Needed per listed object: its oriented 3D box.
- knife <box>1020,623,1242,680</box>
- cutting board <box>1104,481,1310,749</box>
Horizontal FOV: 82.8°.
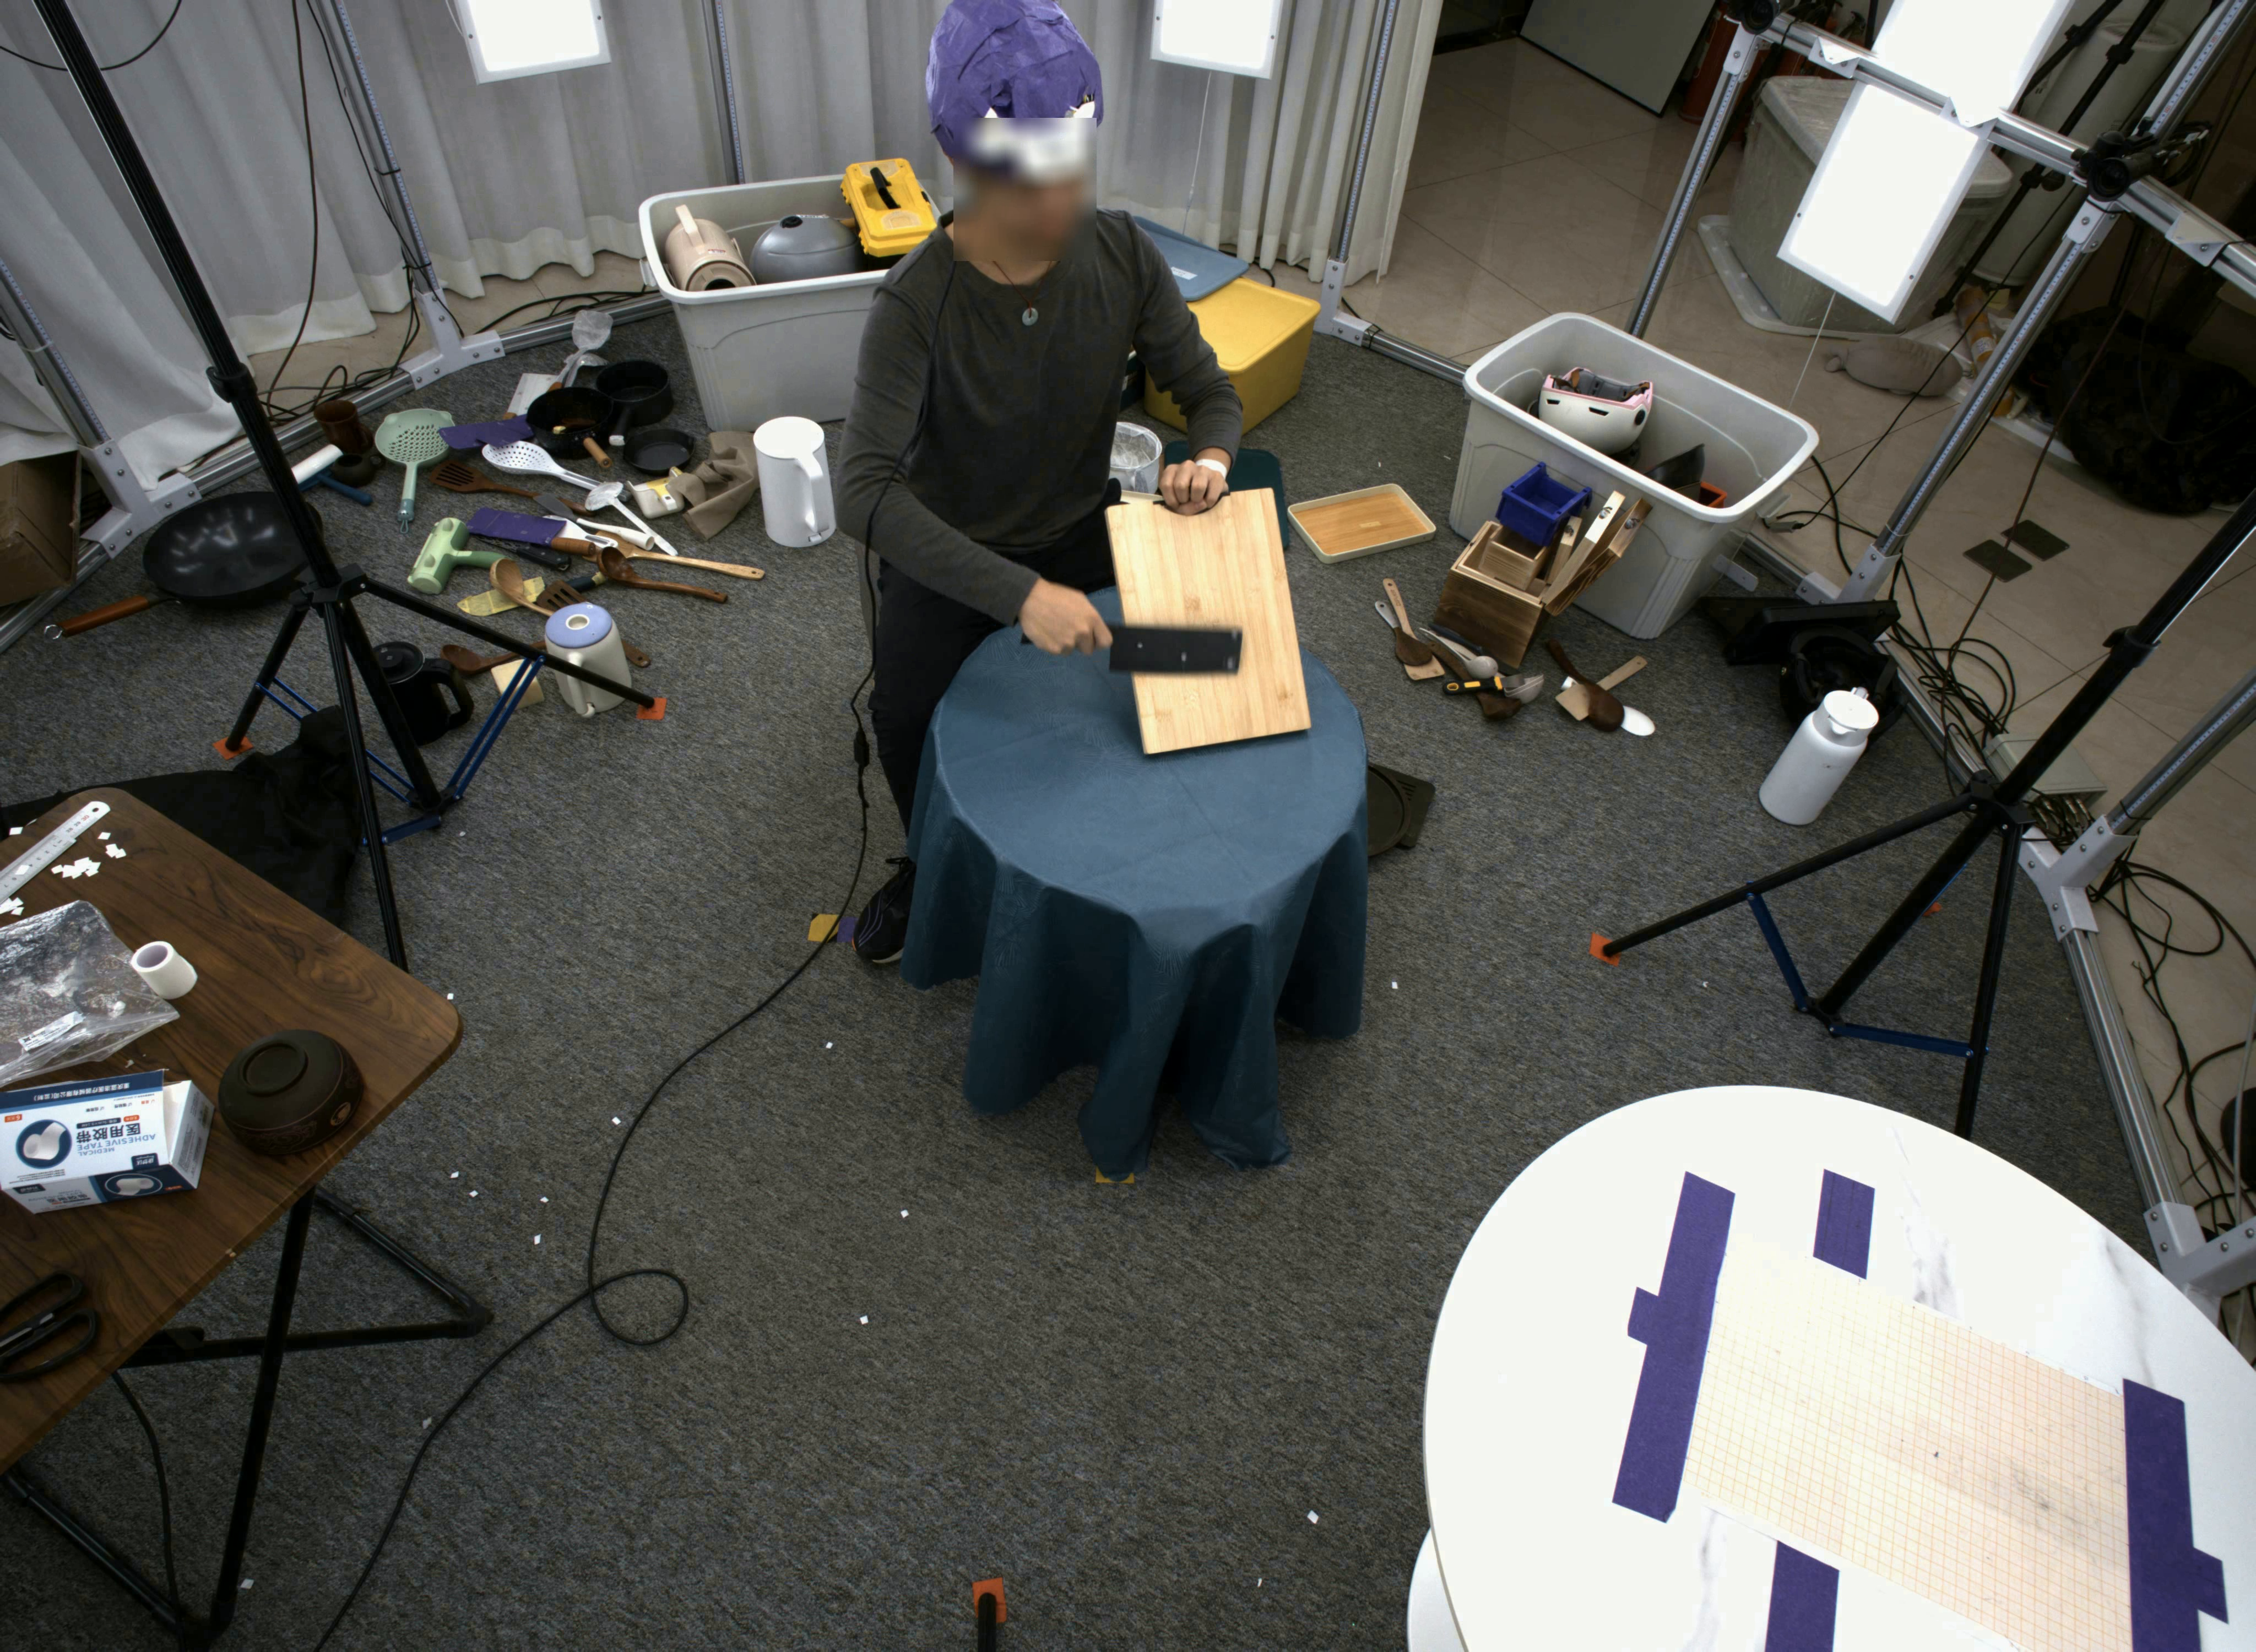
[{"bbox_3d":[0.007,-0.235,1.724,0.301,0.080,0.021,6,17,-11],"label":"knife"},{"bbox_3d":[0.111,-0.290,1.773,0.250,0.023,0.349,-10,90,-13],"label":"cutting board"}]
